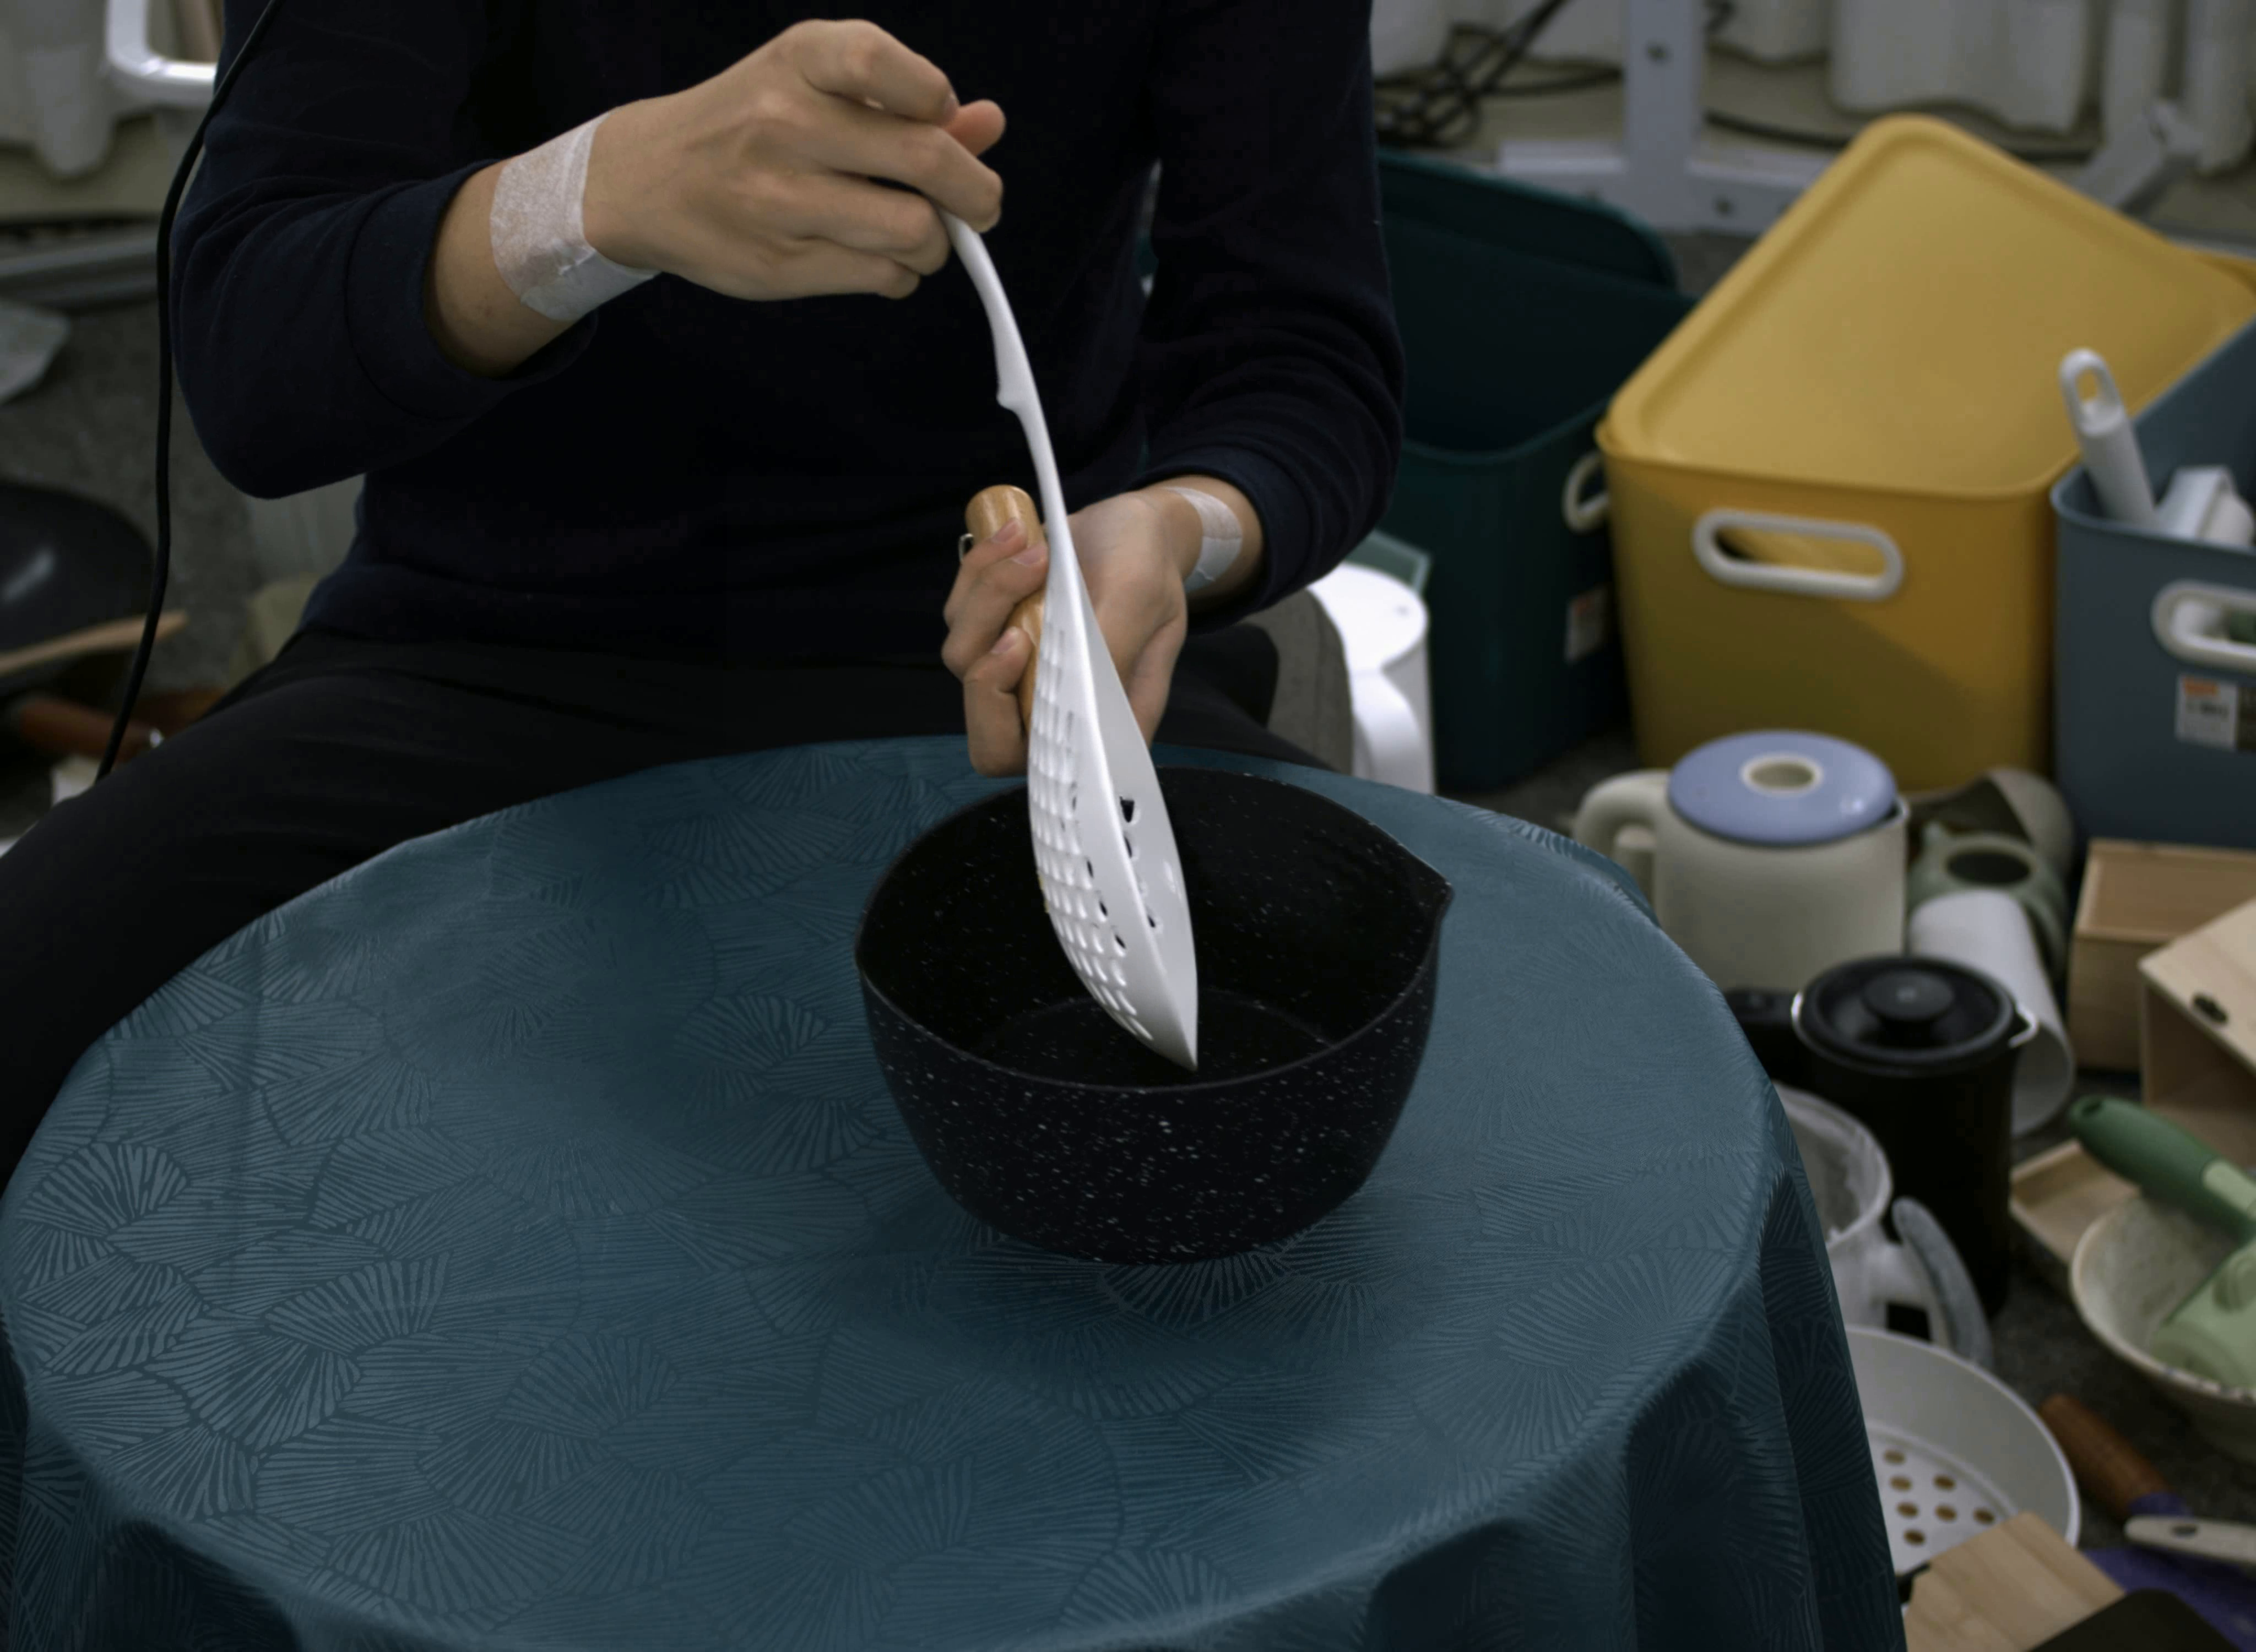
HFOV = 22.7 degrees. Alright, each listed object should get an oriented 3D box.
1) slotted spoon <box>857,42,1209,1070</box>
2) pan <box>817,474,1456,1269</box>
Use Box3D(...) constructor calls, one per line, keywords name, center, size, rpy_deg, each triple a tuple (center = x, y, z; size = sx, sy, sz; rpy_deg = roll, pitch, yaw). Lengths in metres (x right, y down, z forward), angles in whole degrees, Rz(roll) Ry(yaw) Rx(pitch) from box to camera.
Box3D(name="slotted spoon", center=(-0.027, -0.084, 1.775), size=(0.050, 0.345, 0.138), rpy_deg=(-9, 21, 4))
Box3D(name="pan", center=(-0.013, 0.012, 1.874), size=(0.207, 0.107, 0.347), rpy_deg=(-9, 35, -10))
